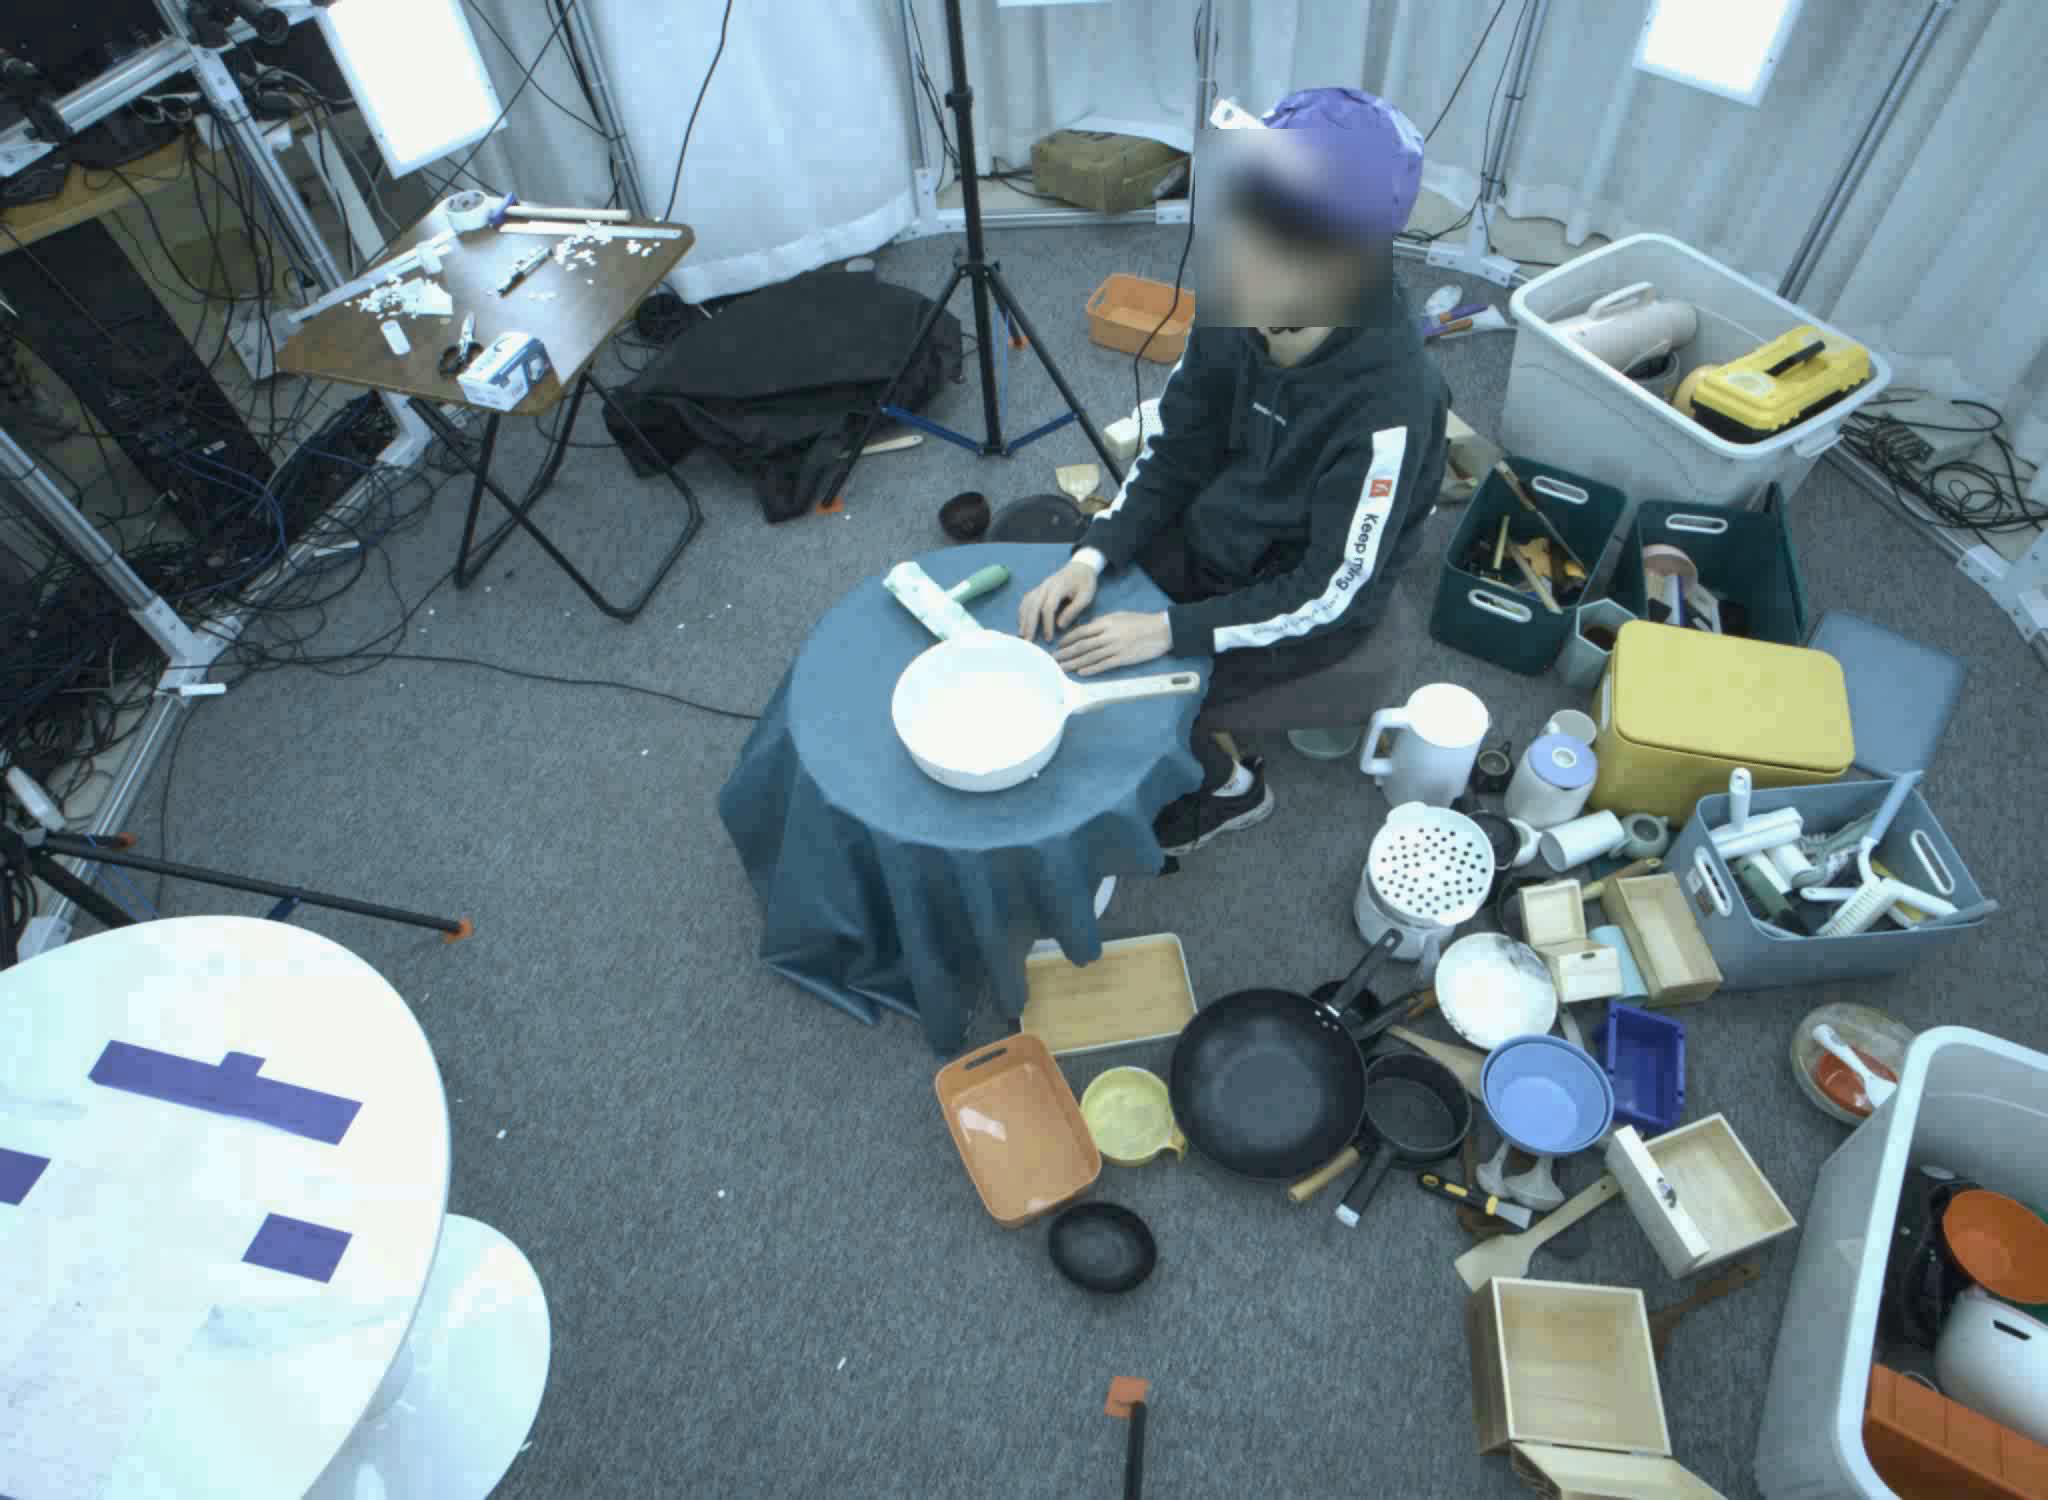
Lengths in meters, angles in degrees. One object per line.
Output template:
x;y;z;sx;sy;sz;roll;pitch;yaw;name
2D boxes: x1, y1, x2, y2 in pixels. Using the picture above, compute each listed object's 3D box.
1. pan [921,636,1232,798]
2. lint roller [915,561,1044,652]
0.074;-0.047;1.753;0.435;0.103;0.260;-2;53;1;pan
-0.047;-0.258;1.921;0.184;0.083;0.195;-36;60;-14;lint roller
